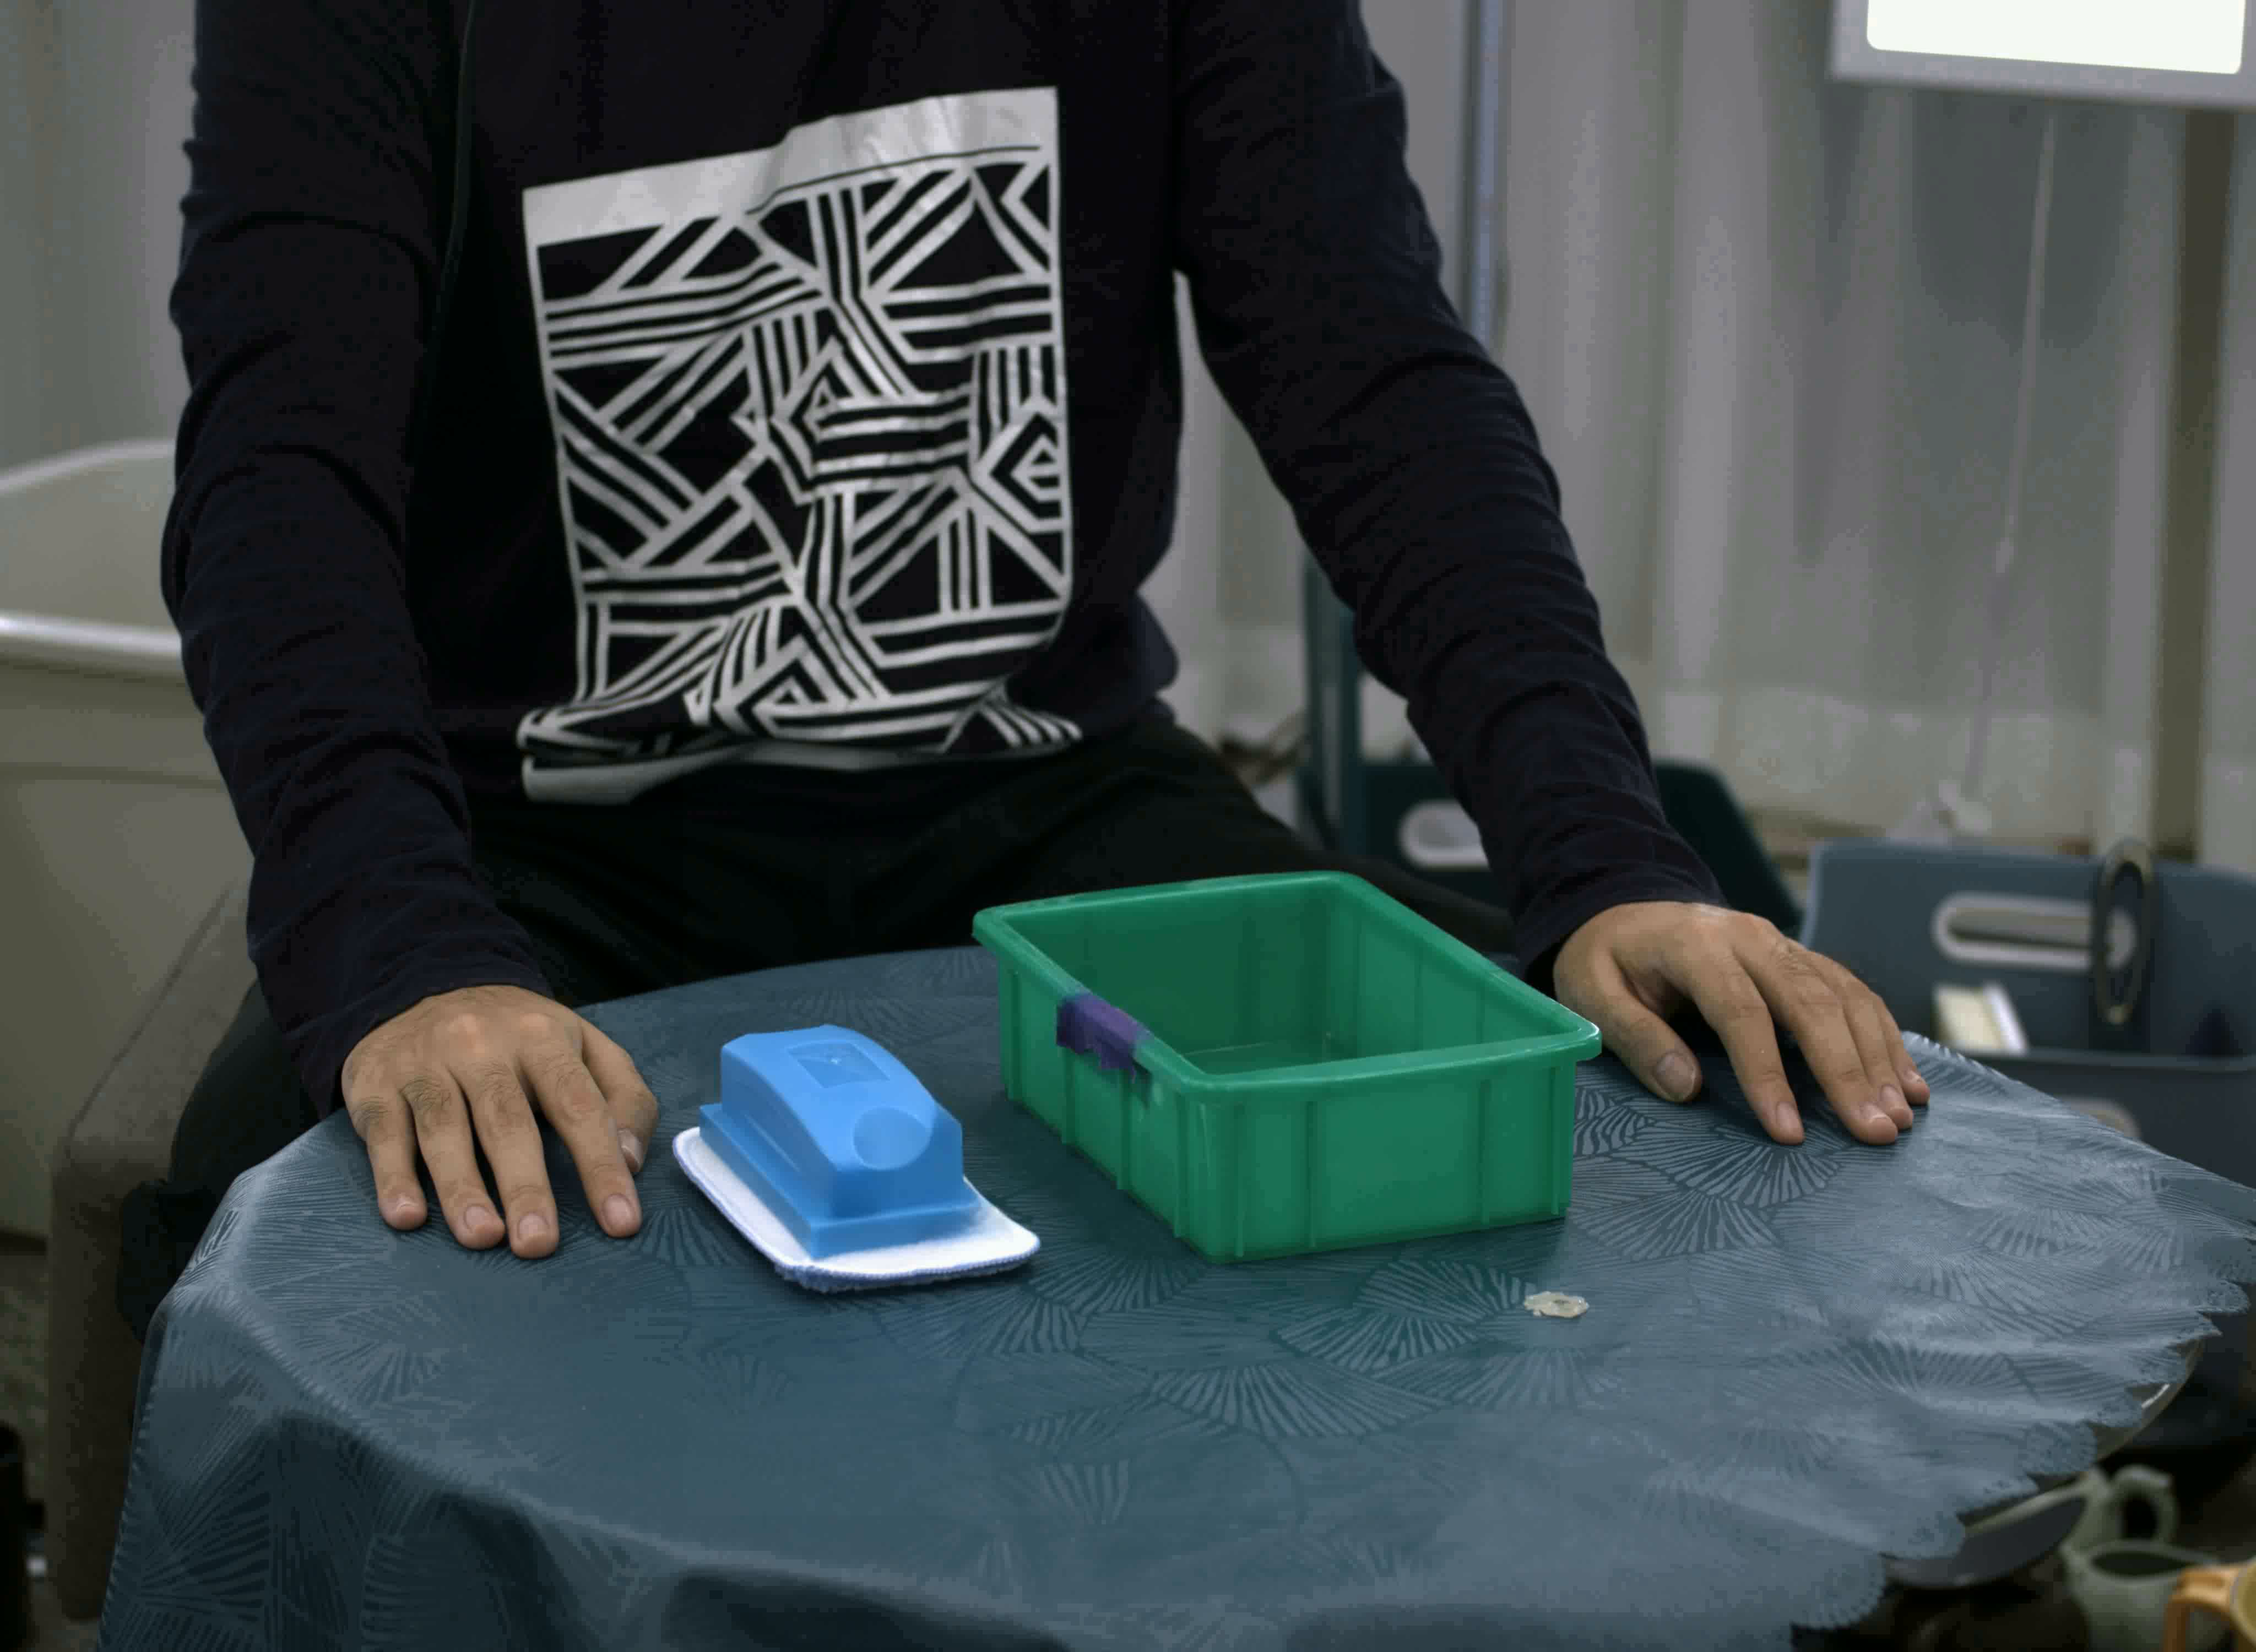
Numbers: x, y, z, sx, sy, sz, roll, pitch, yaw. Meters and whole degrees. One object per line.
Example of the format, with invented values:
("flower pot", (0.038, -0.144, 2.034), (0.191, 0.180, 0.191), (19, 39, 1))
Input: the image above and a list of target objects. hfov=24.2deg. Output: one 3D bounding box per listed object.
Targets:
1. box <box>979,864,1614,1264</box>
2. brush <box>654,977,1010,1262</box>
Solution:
("box", (0.049, 0.073, 1.652), (0.139, 0.066, 0.208), (-9, 19, -22))
("brush", (-0.089, 0.086, 1.593), (0.084, 0.056, 0.142), (-3, 21, -20))
